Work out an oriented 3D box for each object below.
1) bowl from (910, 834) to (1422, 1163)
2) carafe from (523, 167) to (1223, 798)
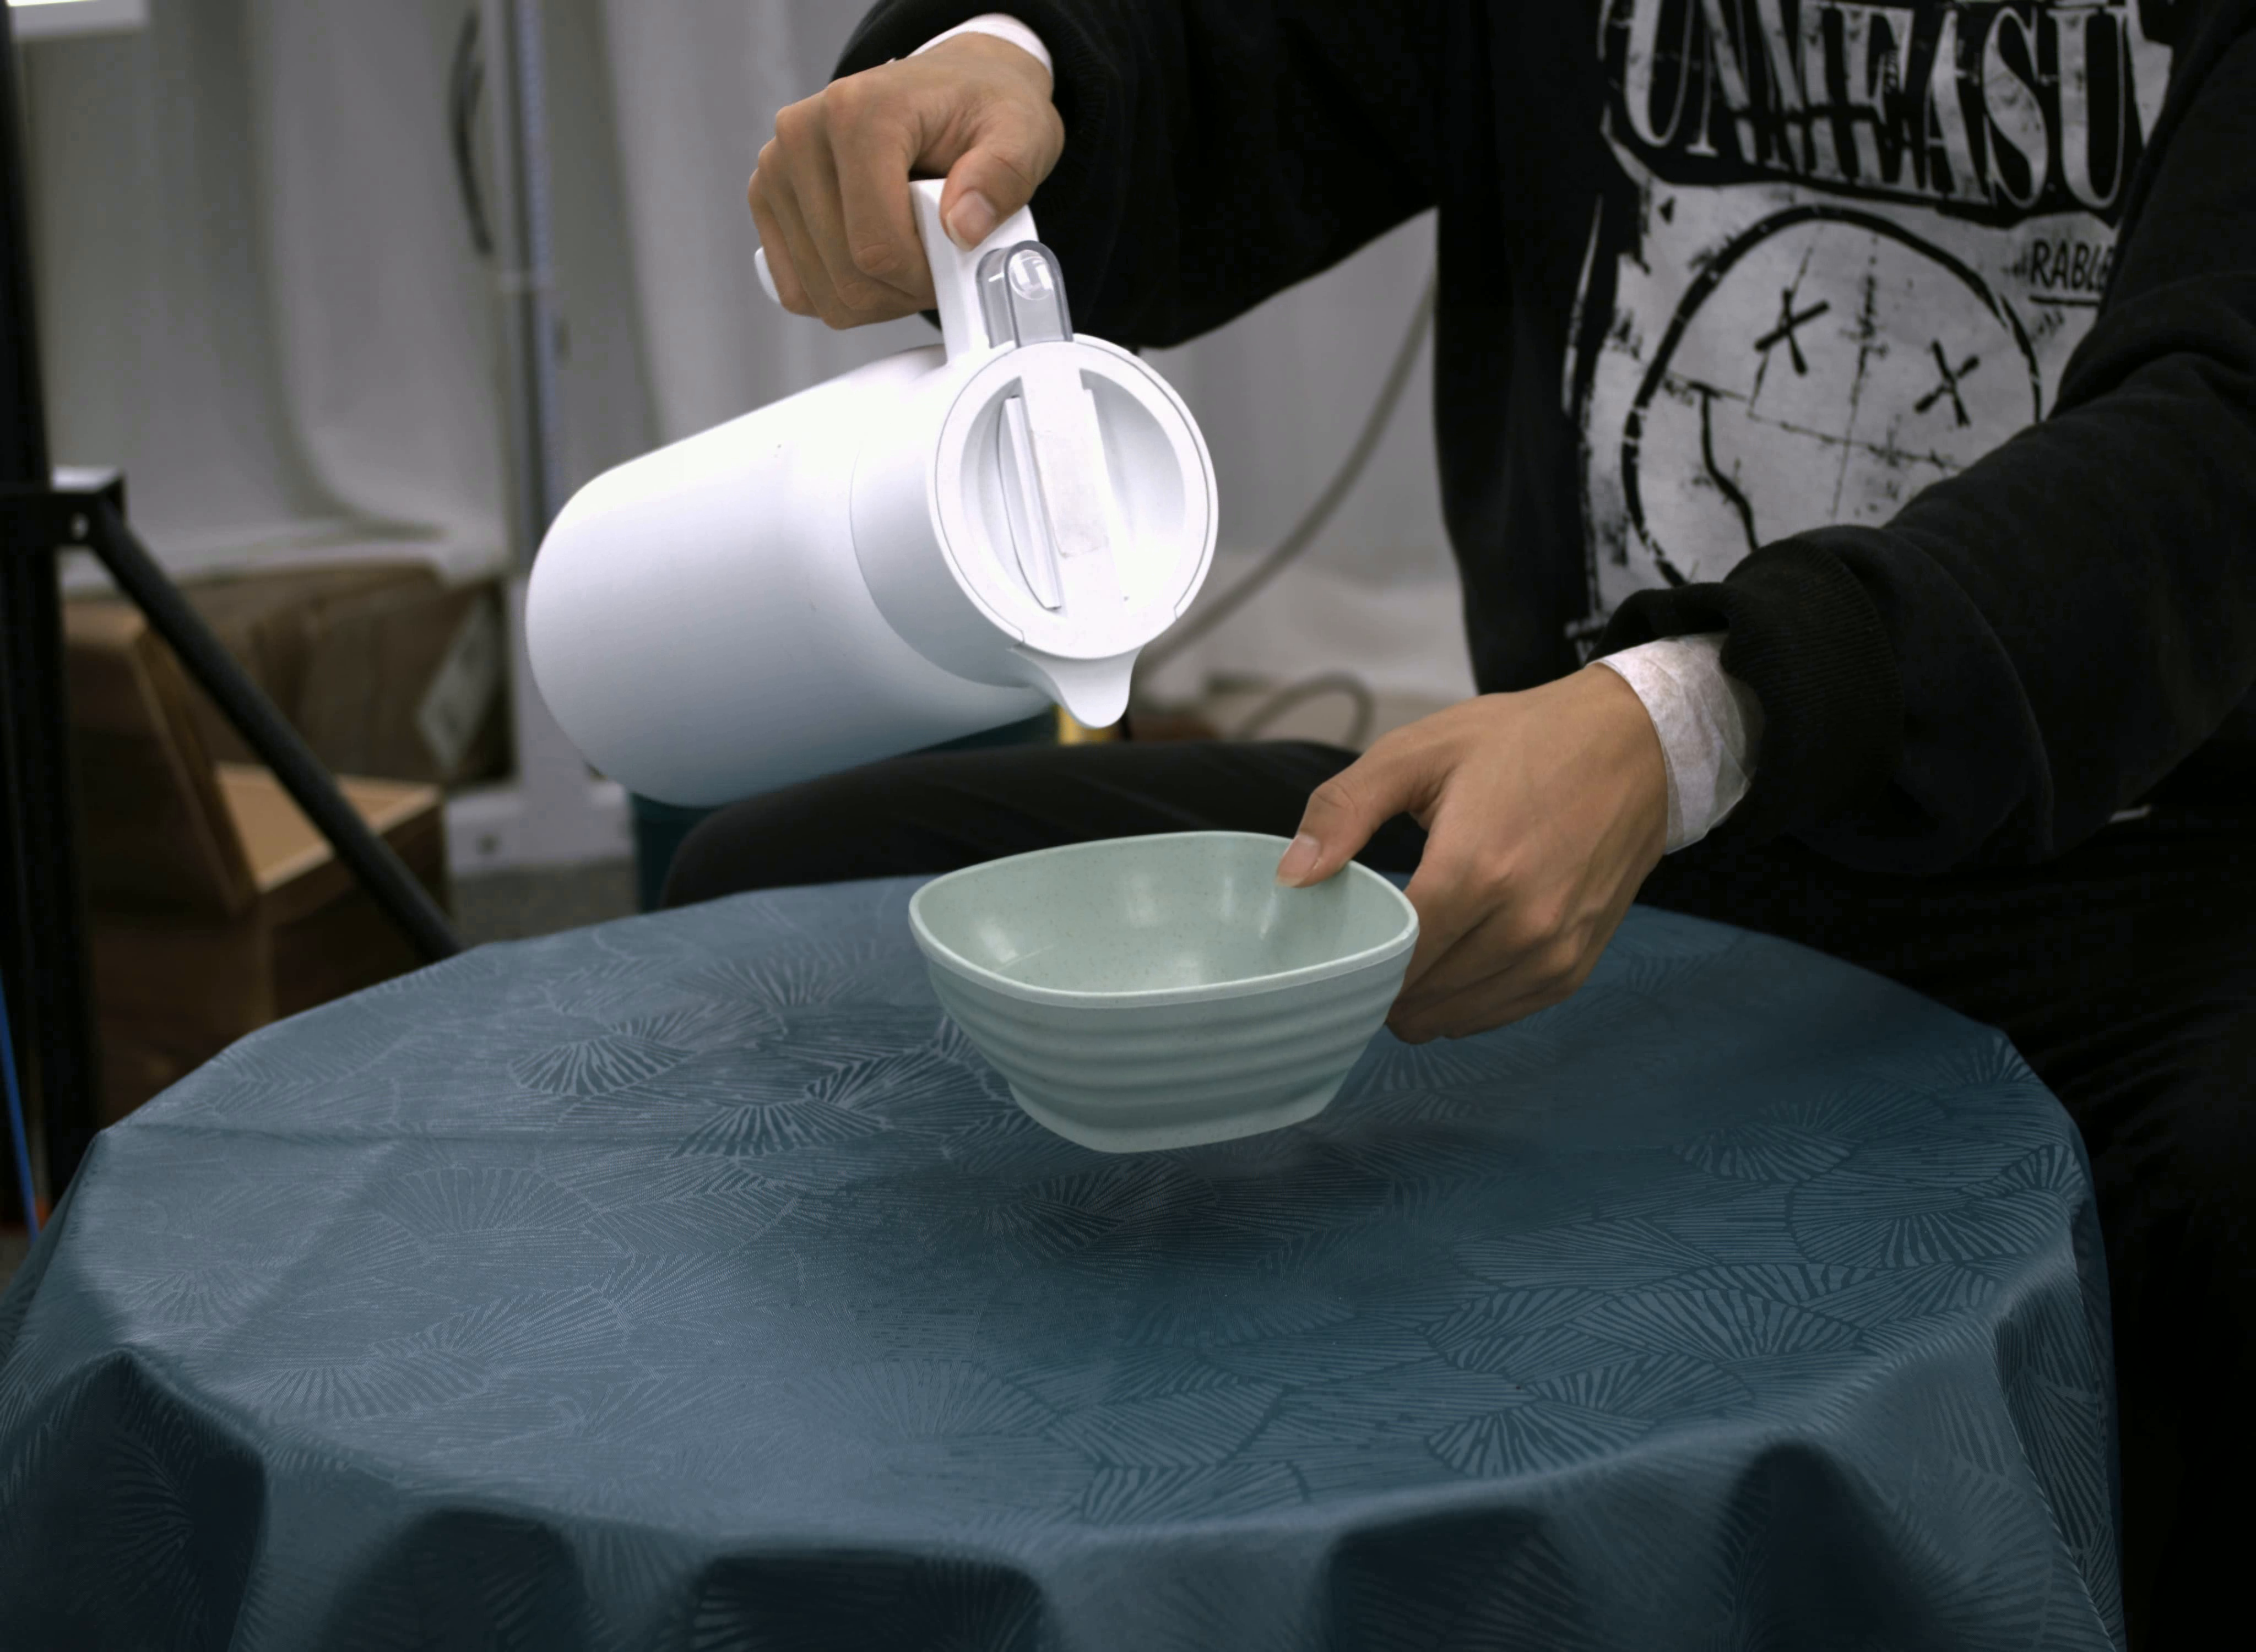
[{"bbox_3d":[0.011,0.053,1.525,0.150,0.058,0.152,-2,18,-1],"label":"bowl"},{"bbox_3d":[-0.086,-0.098,1.652,0.121,0.174,0.273,-11,-1,-29],"label":"carafe"}]
